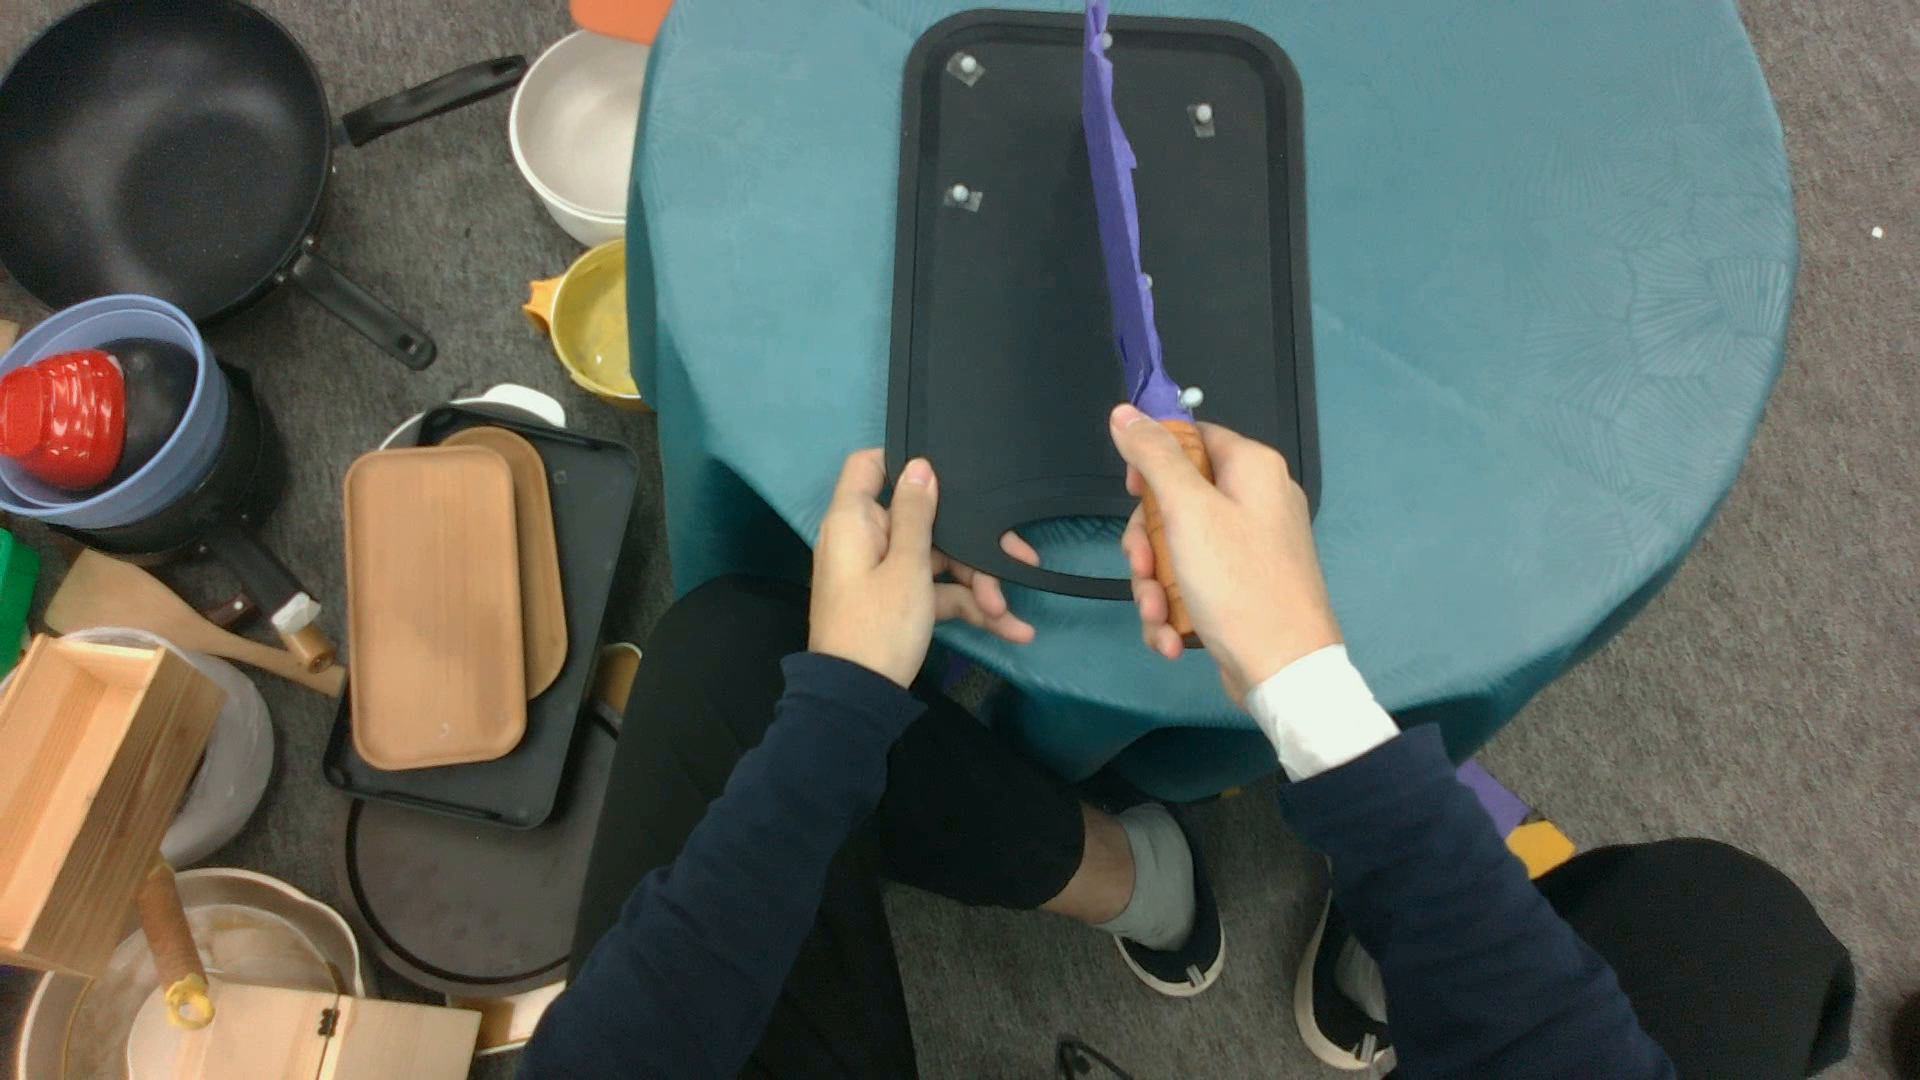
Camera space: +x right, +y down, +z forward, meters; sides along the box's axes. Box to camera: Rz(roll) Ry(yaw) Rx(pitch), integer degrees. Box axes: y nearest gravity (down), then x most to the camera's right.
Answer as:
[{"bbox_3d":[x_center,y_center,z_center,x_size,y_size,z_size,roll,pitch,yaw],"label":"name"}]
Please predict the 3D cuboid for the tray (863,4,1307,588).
[{"bbox_3d":[0.063,-0.132,0.679,0.211,0.010,0.326,2,70,-2],"label":"tray"}]

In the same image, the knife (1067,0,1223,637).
[{"bbox_3d":[0.076,-0.102,0.615,0.032,0.103,0.316,-6,70,2],"label":"knife"}]
